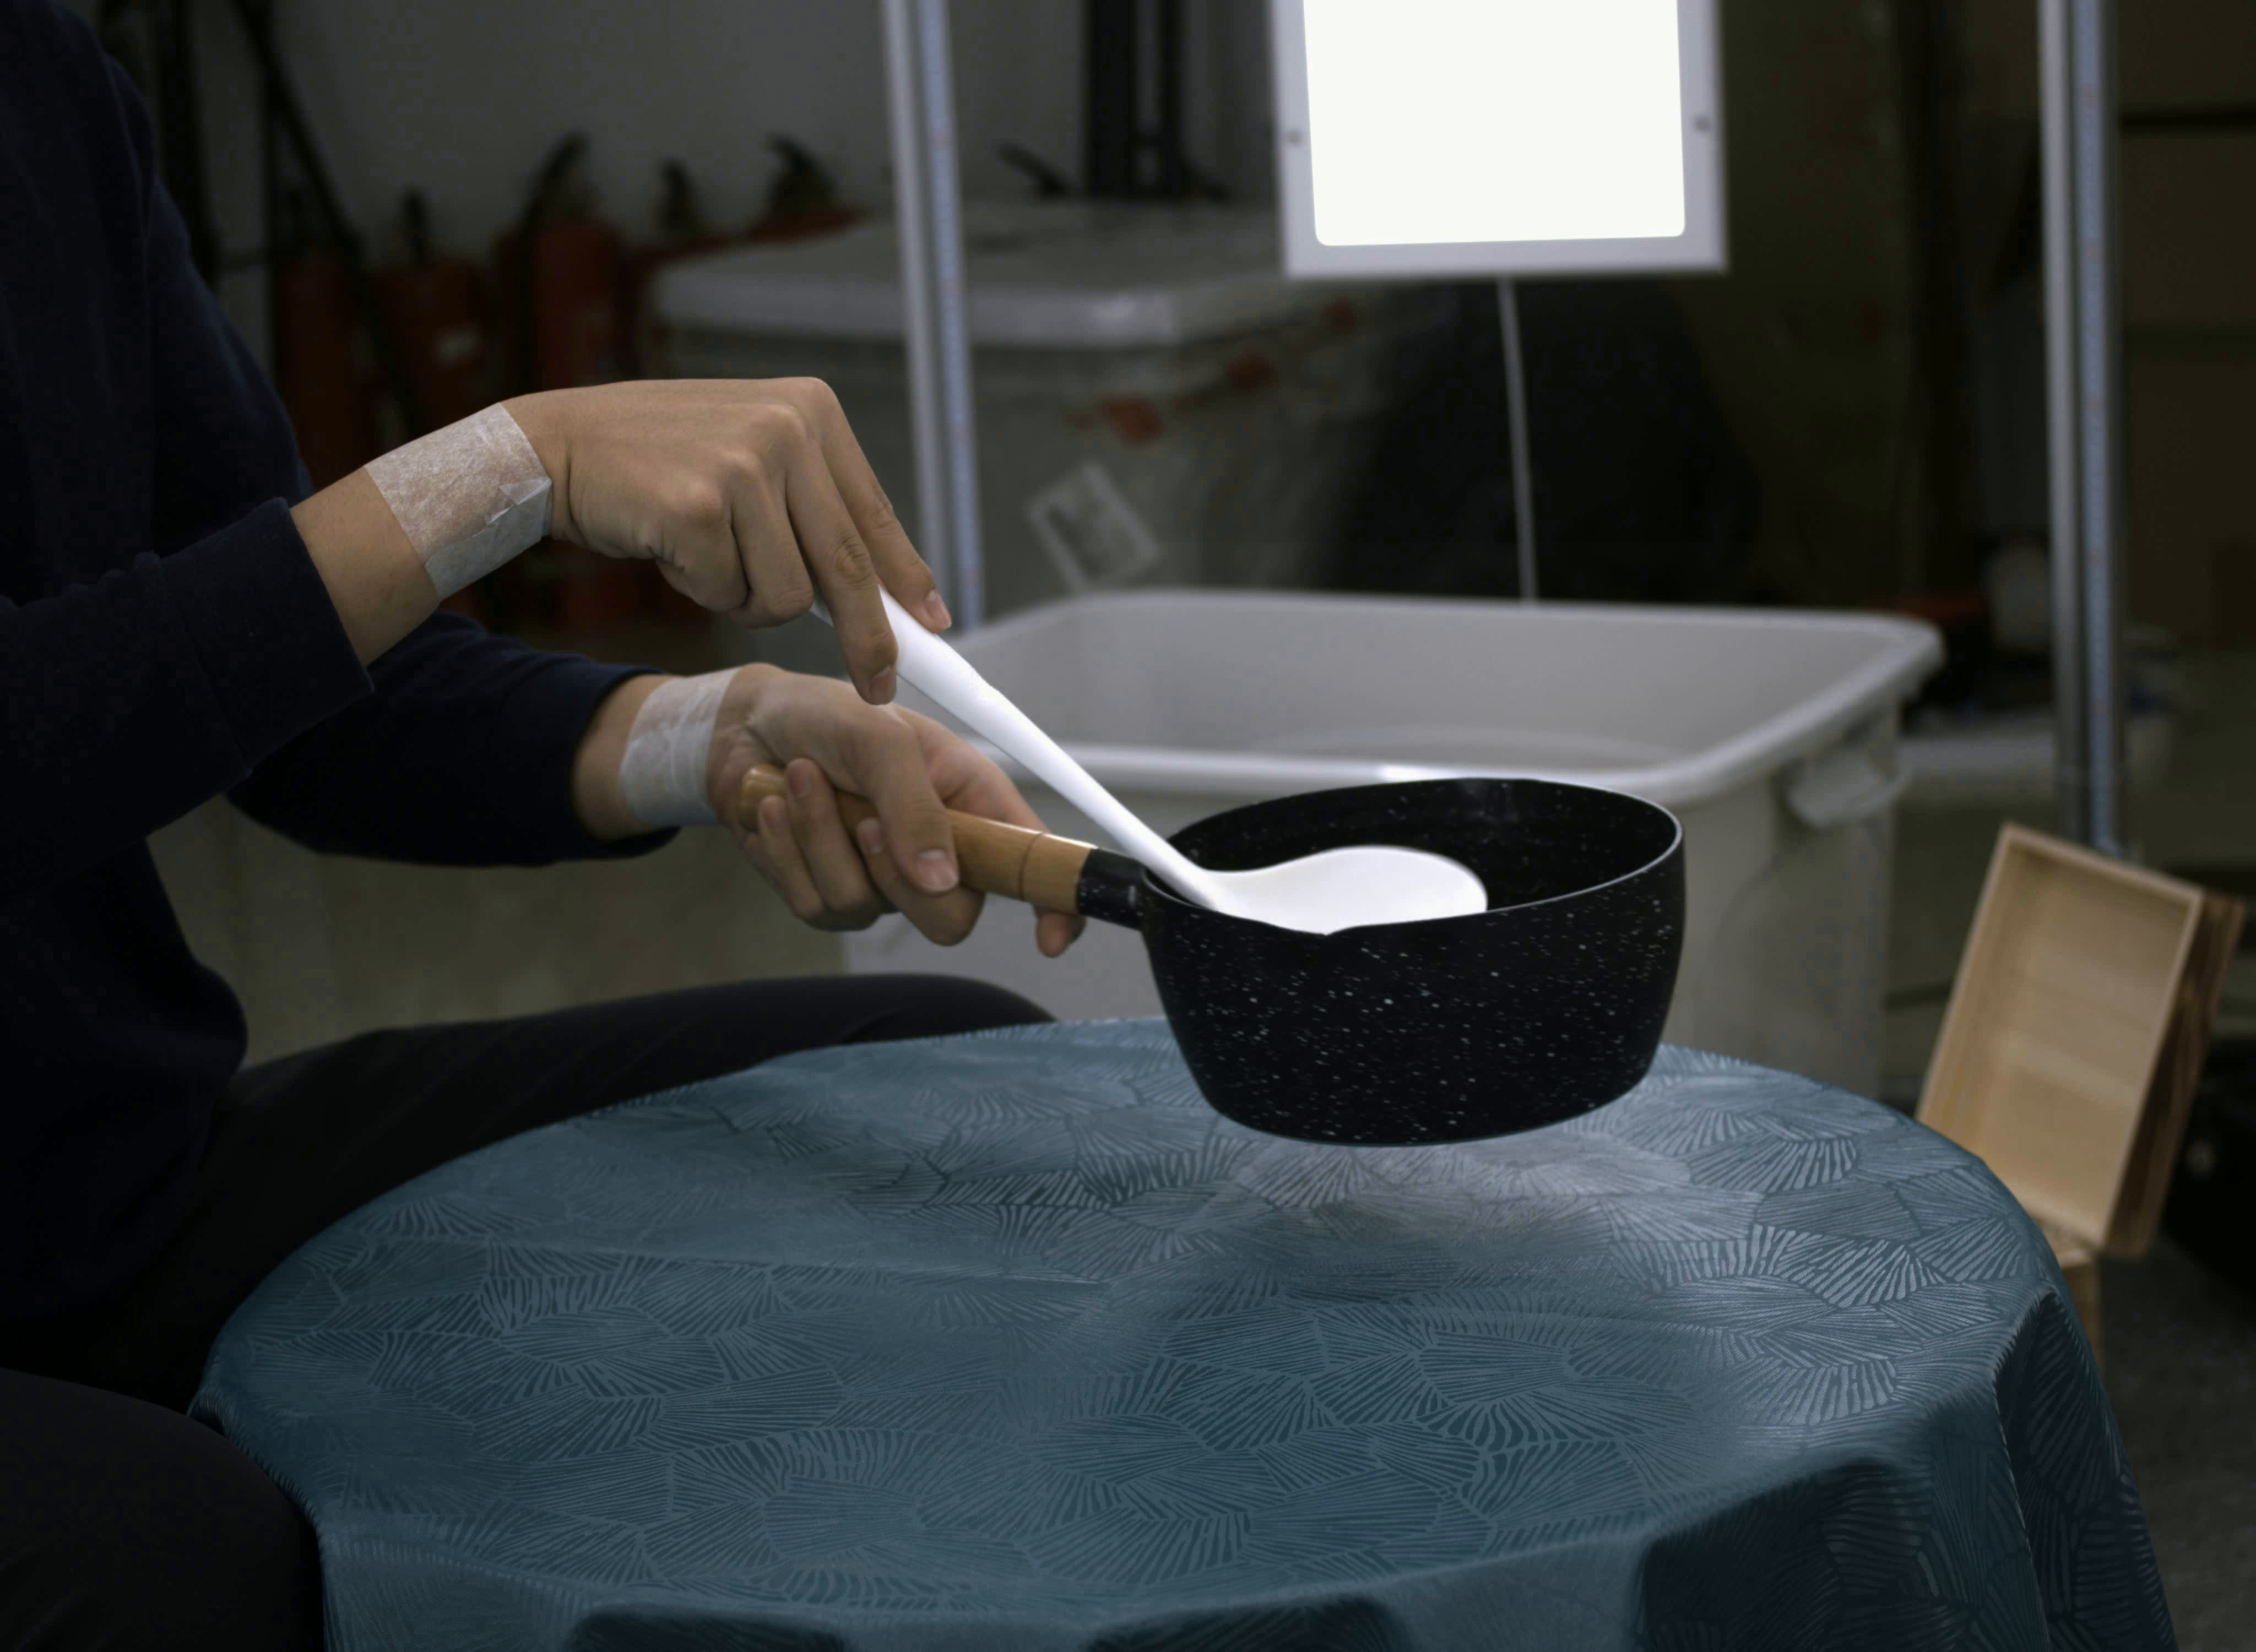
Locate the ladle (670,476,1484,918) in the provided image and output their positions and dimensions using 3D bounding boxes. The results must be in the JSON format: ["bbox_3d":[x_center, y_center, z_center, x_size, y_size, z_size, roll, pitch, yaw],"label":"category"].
[{"bbox_3d":[-0.017,-0.030,1.831,0.291,0.071,0.089,37,34,-6],"label":"ladle"}]

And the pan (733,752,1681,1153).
[{"bbox_3d":[0.021,0.034,1.880,0.348,0.108,0.203,2,17,23],"label":"pan"}]
